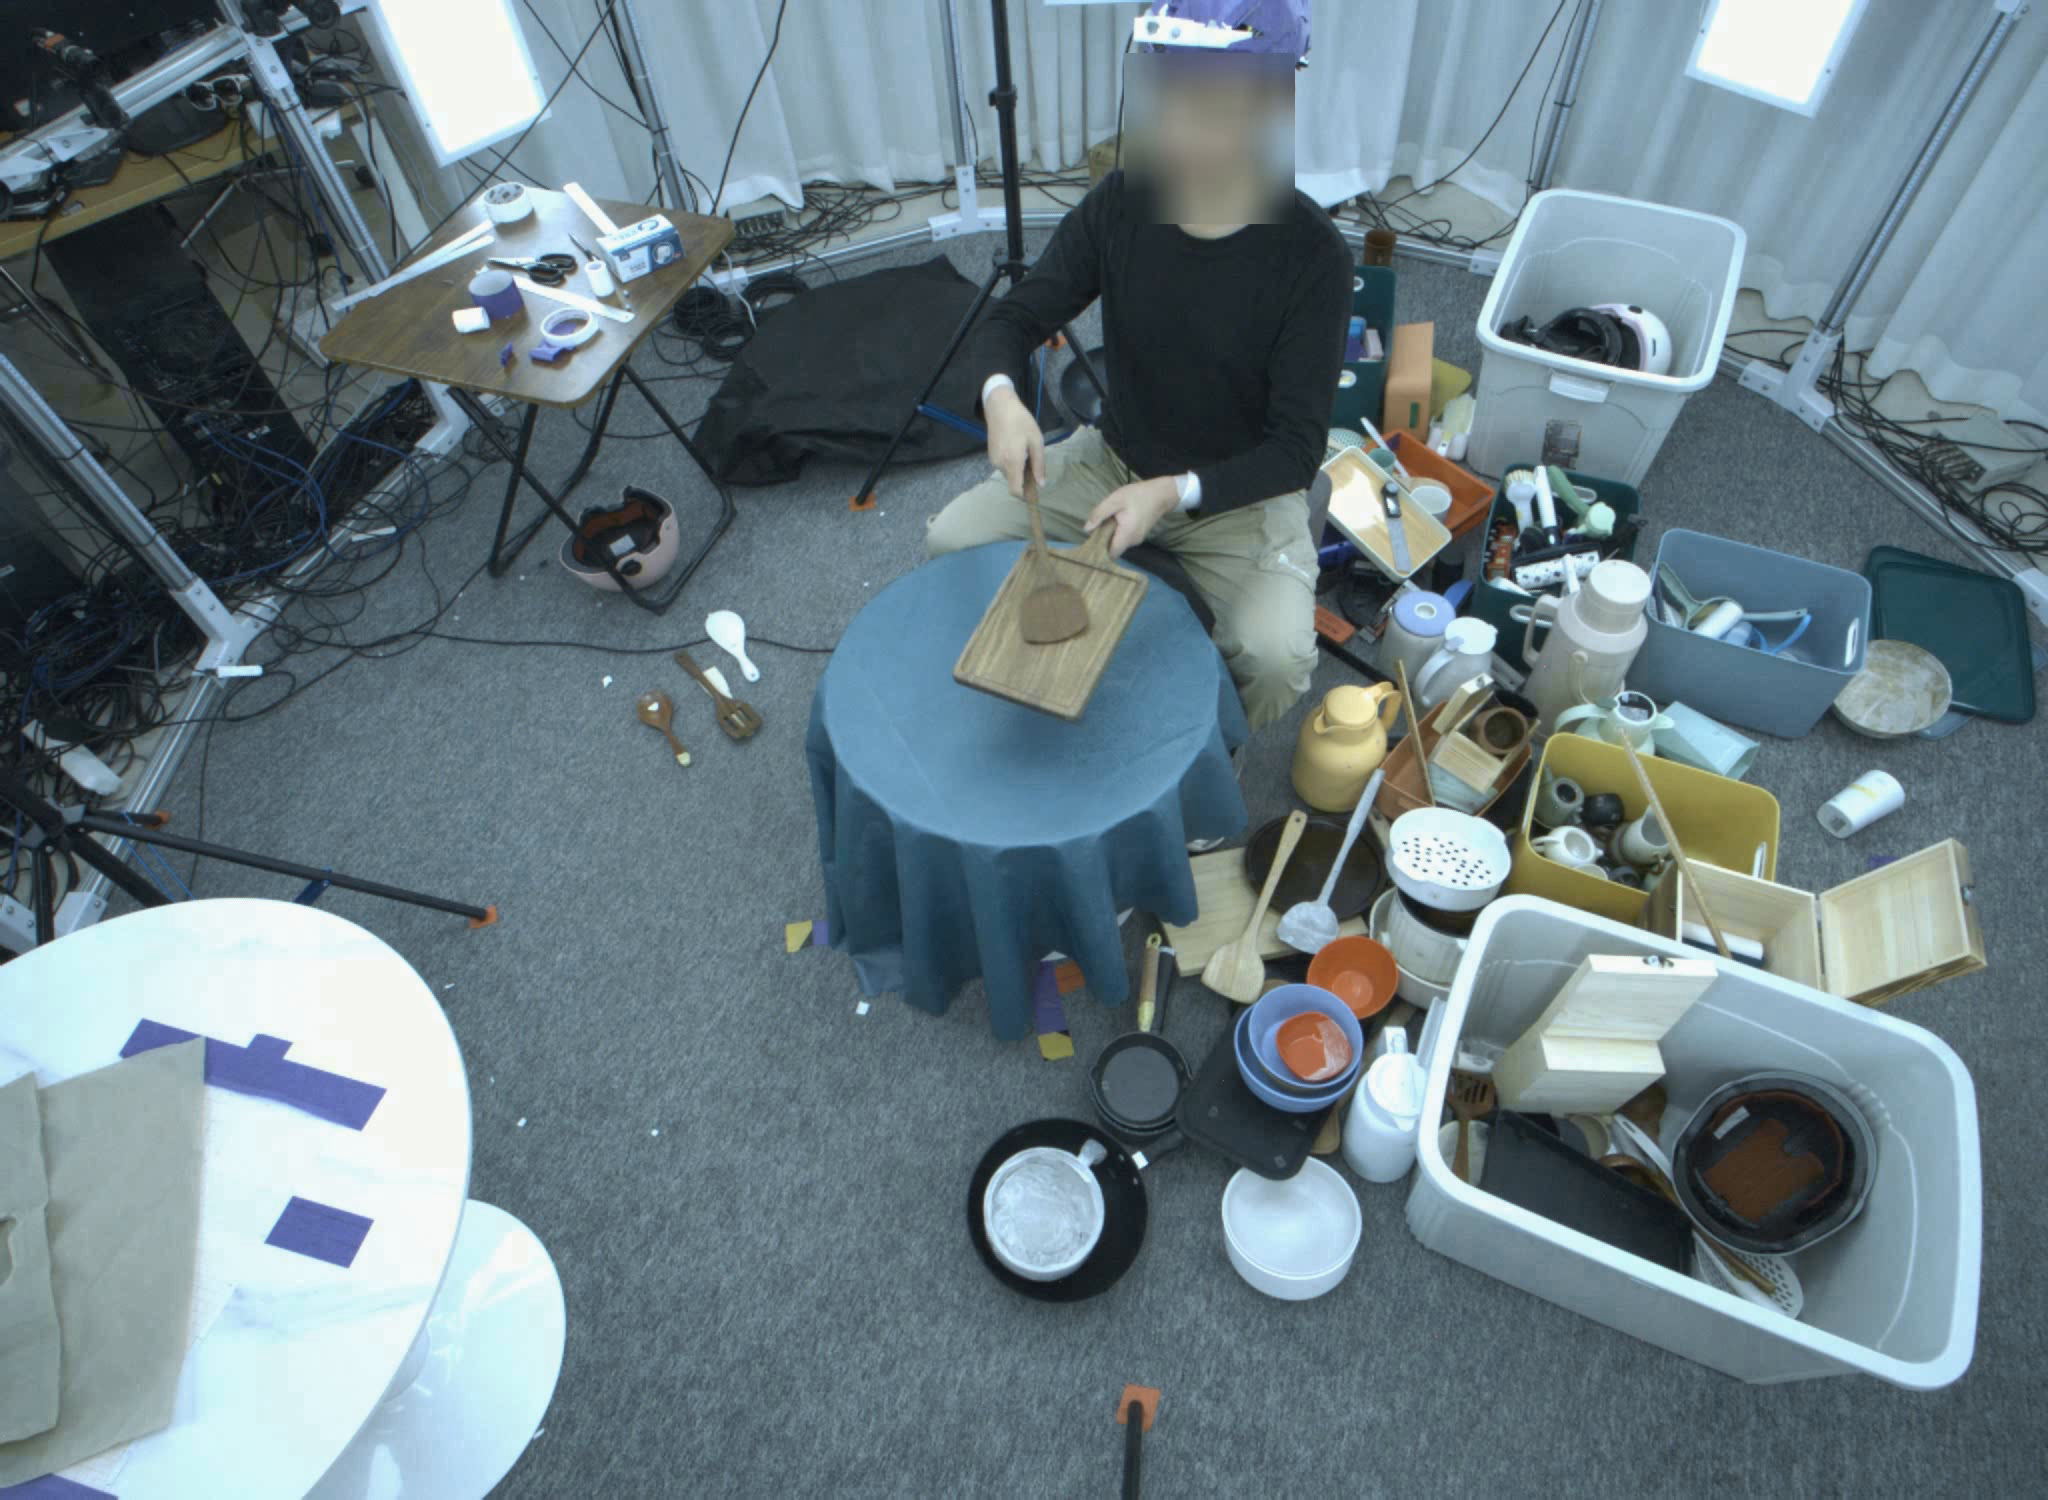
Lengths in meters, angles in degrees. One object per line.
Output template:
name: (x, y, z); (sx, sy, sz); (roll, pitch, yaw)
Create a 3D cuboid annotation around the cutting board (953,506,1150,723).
cutting board: (0.060, -0.209, 1.734); (0.198, 0.023, 0.352); (20, 66, 19)

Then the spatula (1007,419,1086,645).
spatula: (0.014, -0.325, 1.761); (0.096, 0.016, 0.382); (-12, 70, 7)
